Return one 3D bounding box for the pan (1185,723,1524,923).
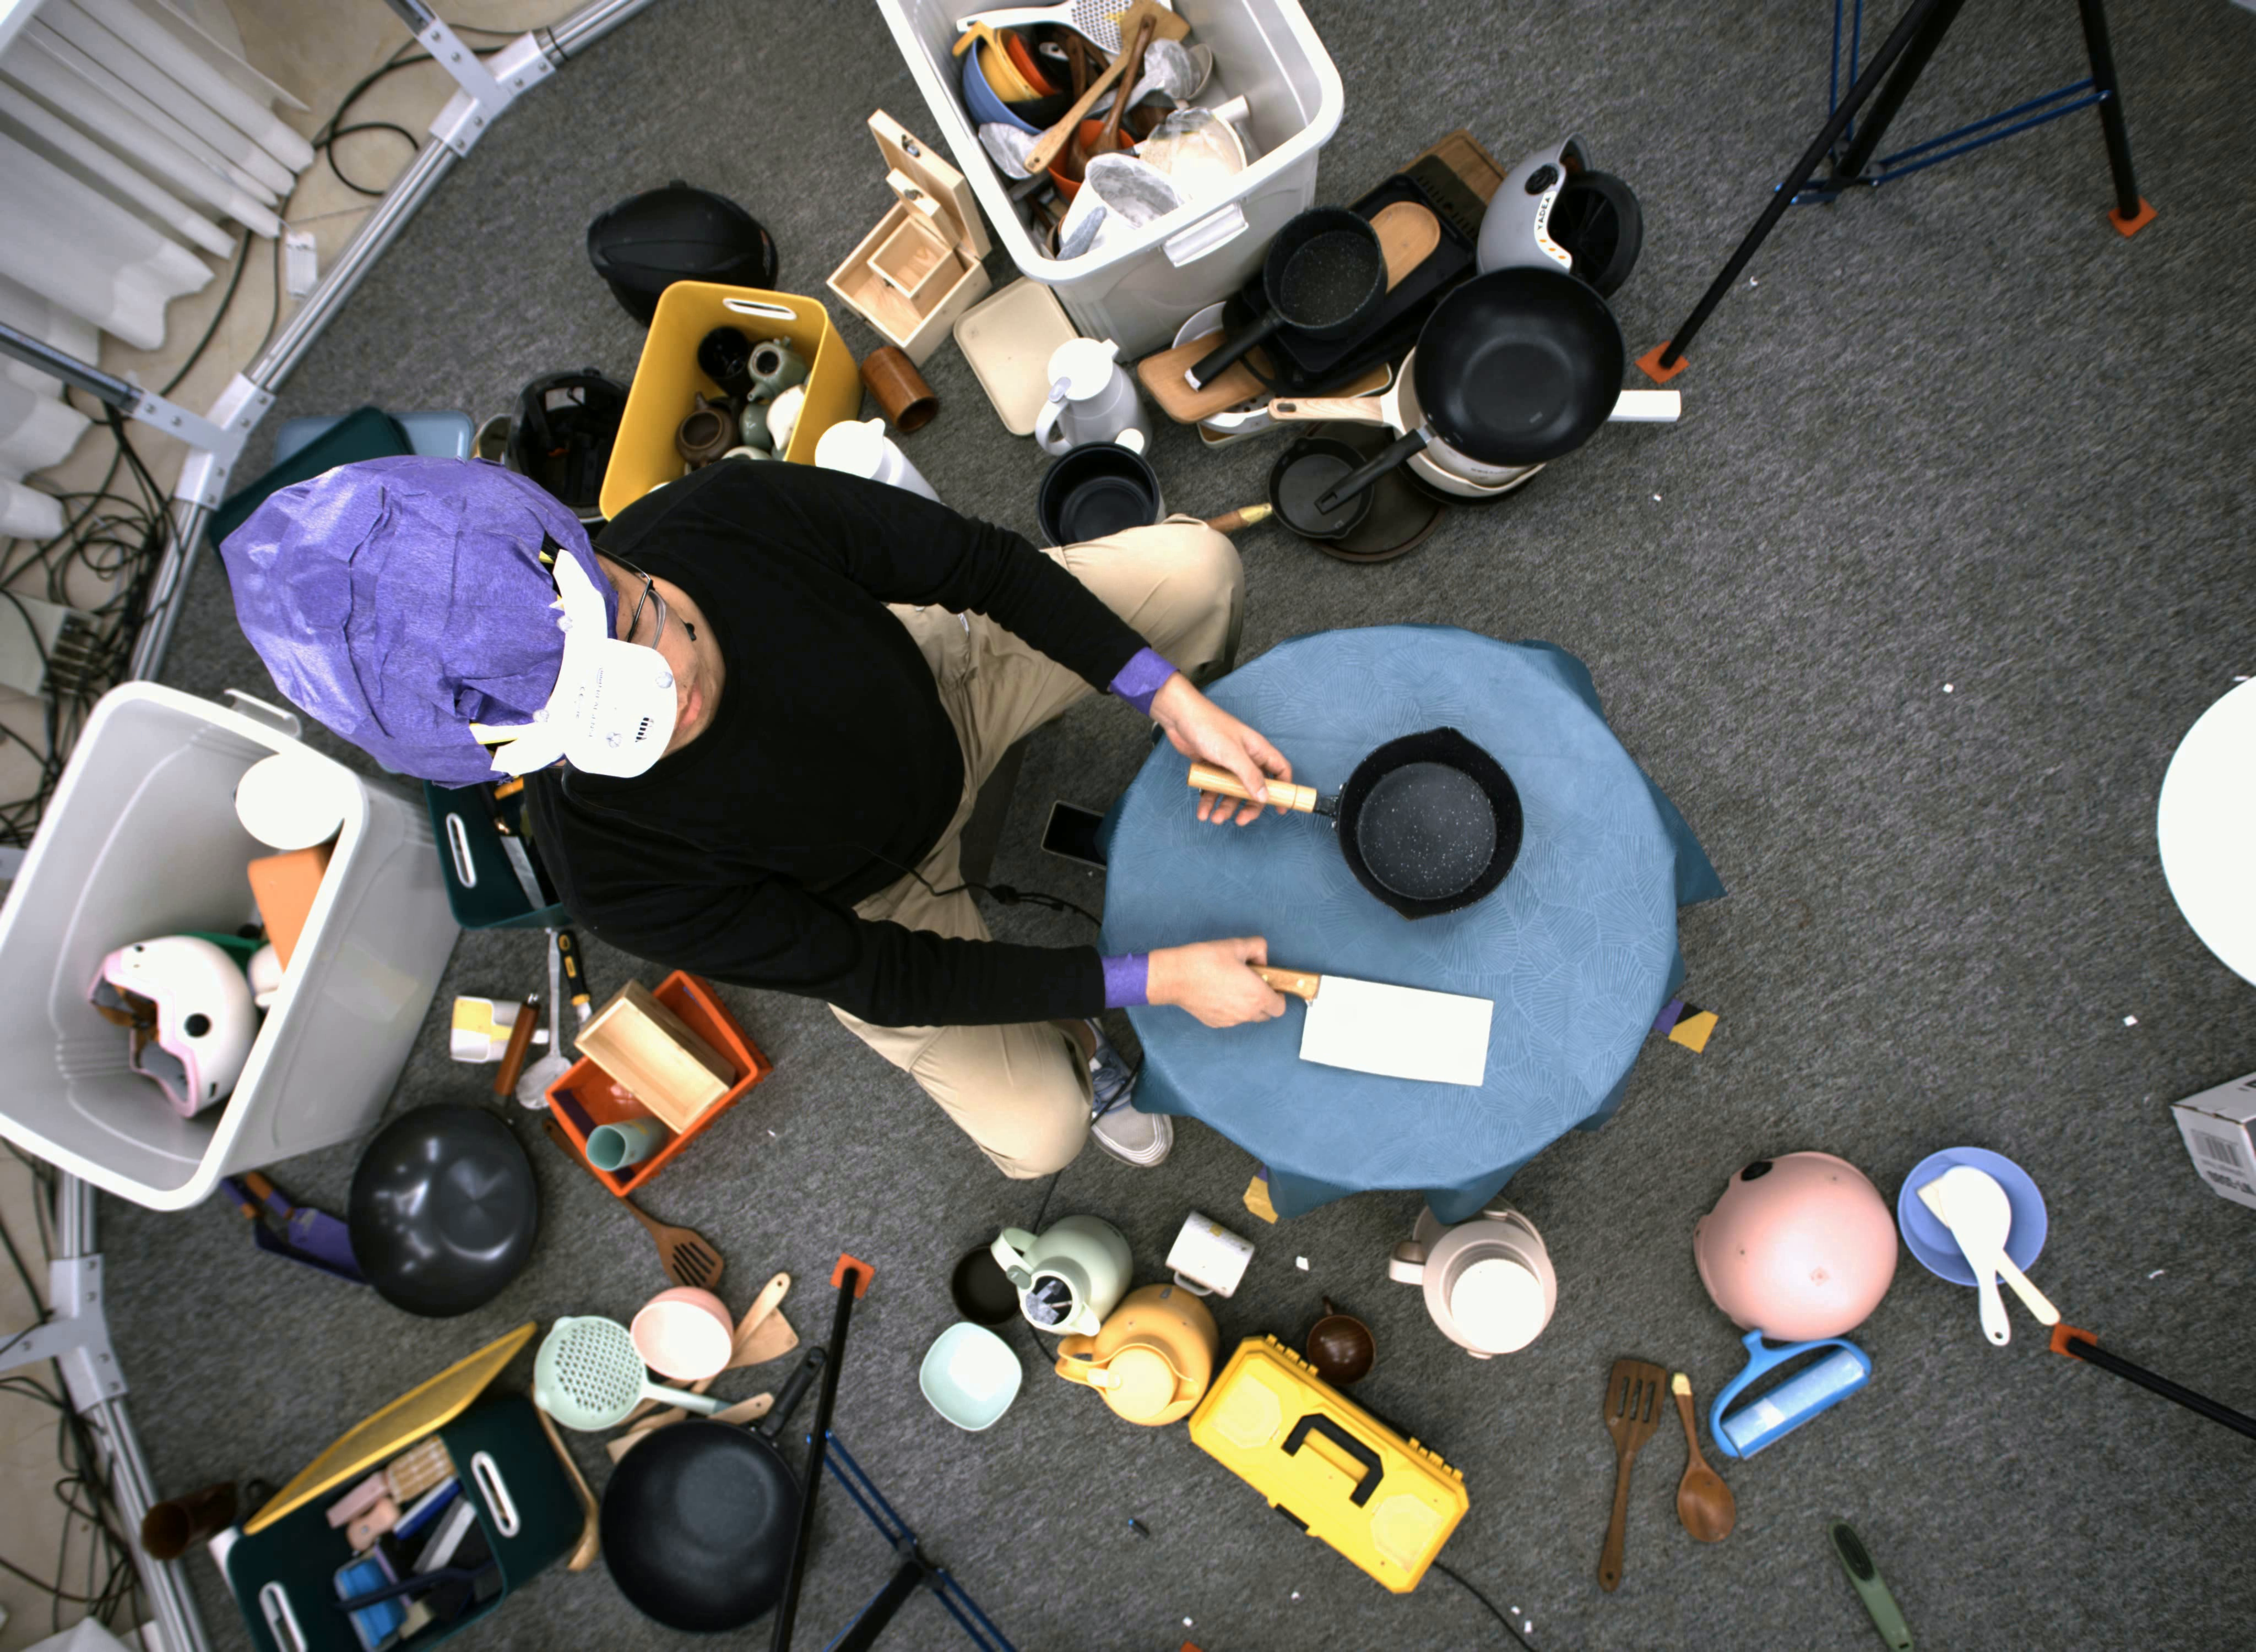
[{"bbox_3d":[0.229,-0.015,1.420,0.343,0.108,0.207,11,89,10],"label":"pan"}]

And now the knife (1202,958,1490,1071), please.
[{"bbox_3d":[0.224,0.199,1.447,0.306,0.021,0.093,9,90,5],"label":"knife"}]
